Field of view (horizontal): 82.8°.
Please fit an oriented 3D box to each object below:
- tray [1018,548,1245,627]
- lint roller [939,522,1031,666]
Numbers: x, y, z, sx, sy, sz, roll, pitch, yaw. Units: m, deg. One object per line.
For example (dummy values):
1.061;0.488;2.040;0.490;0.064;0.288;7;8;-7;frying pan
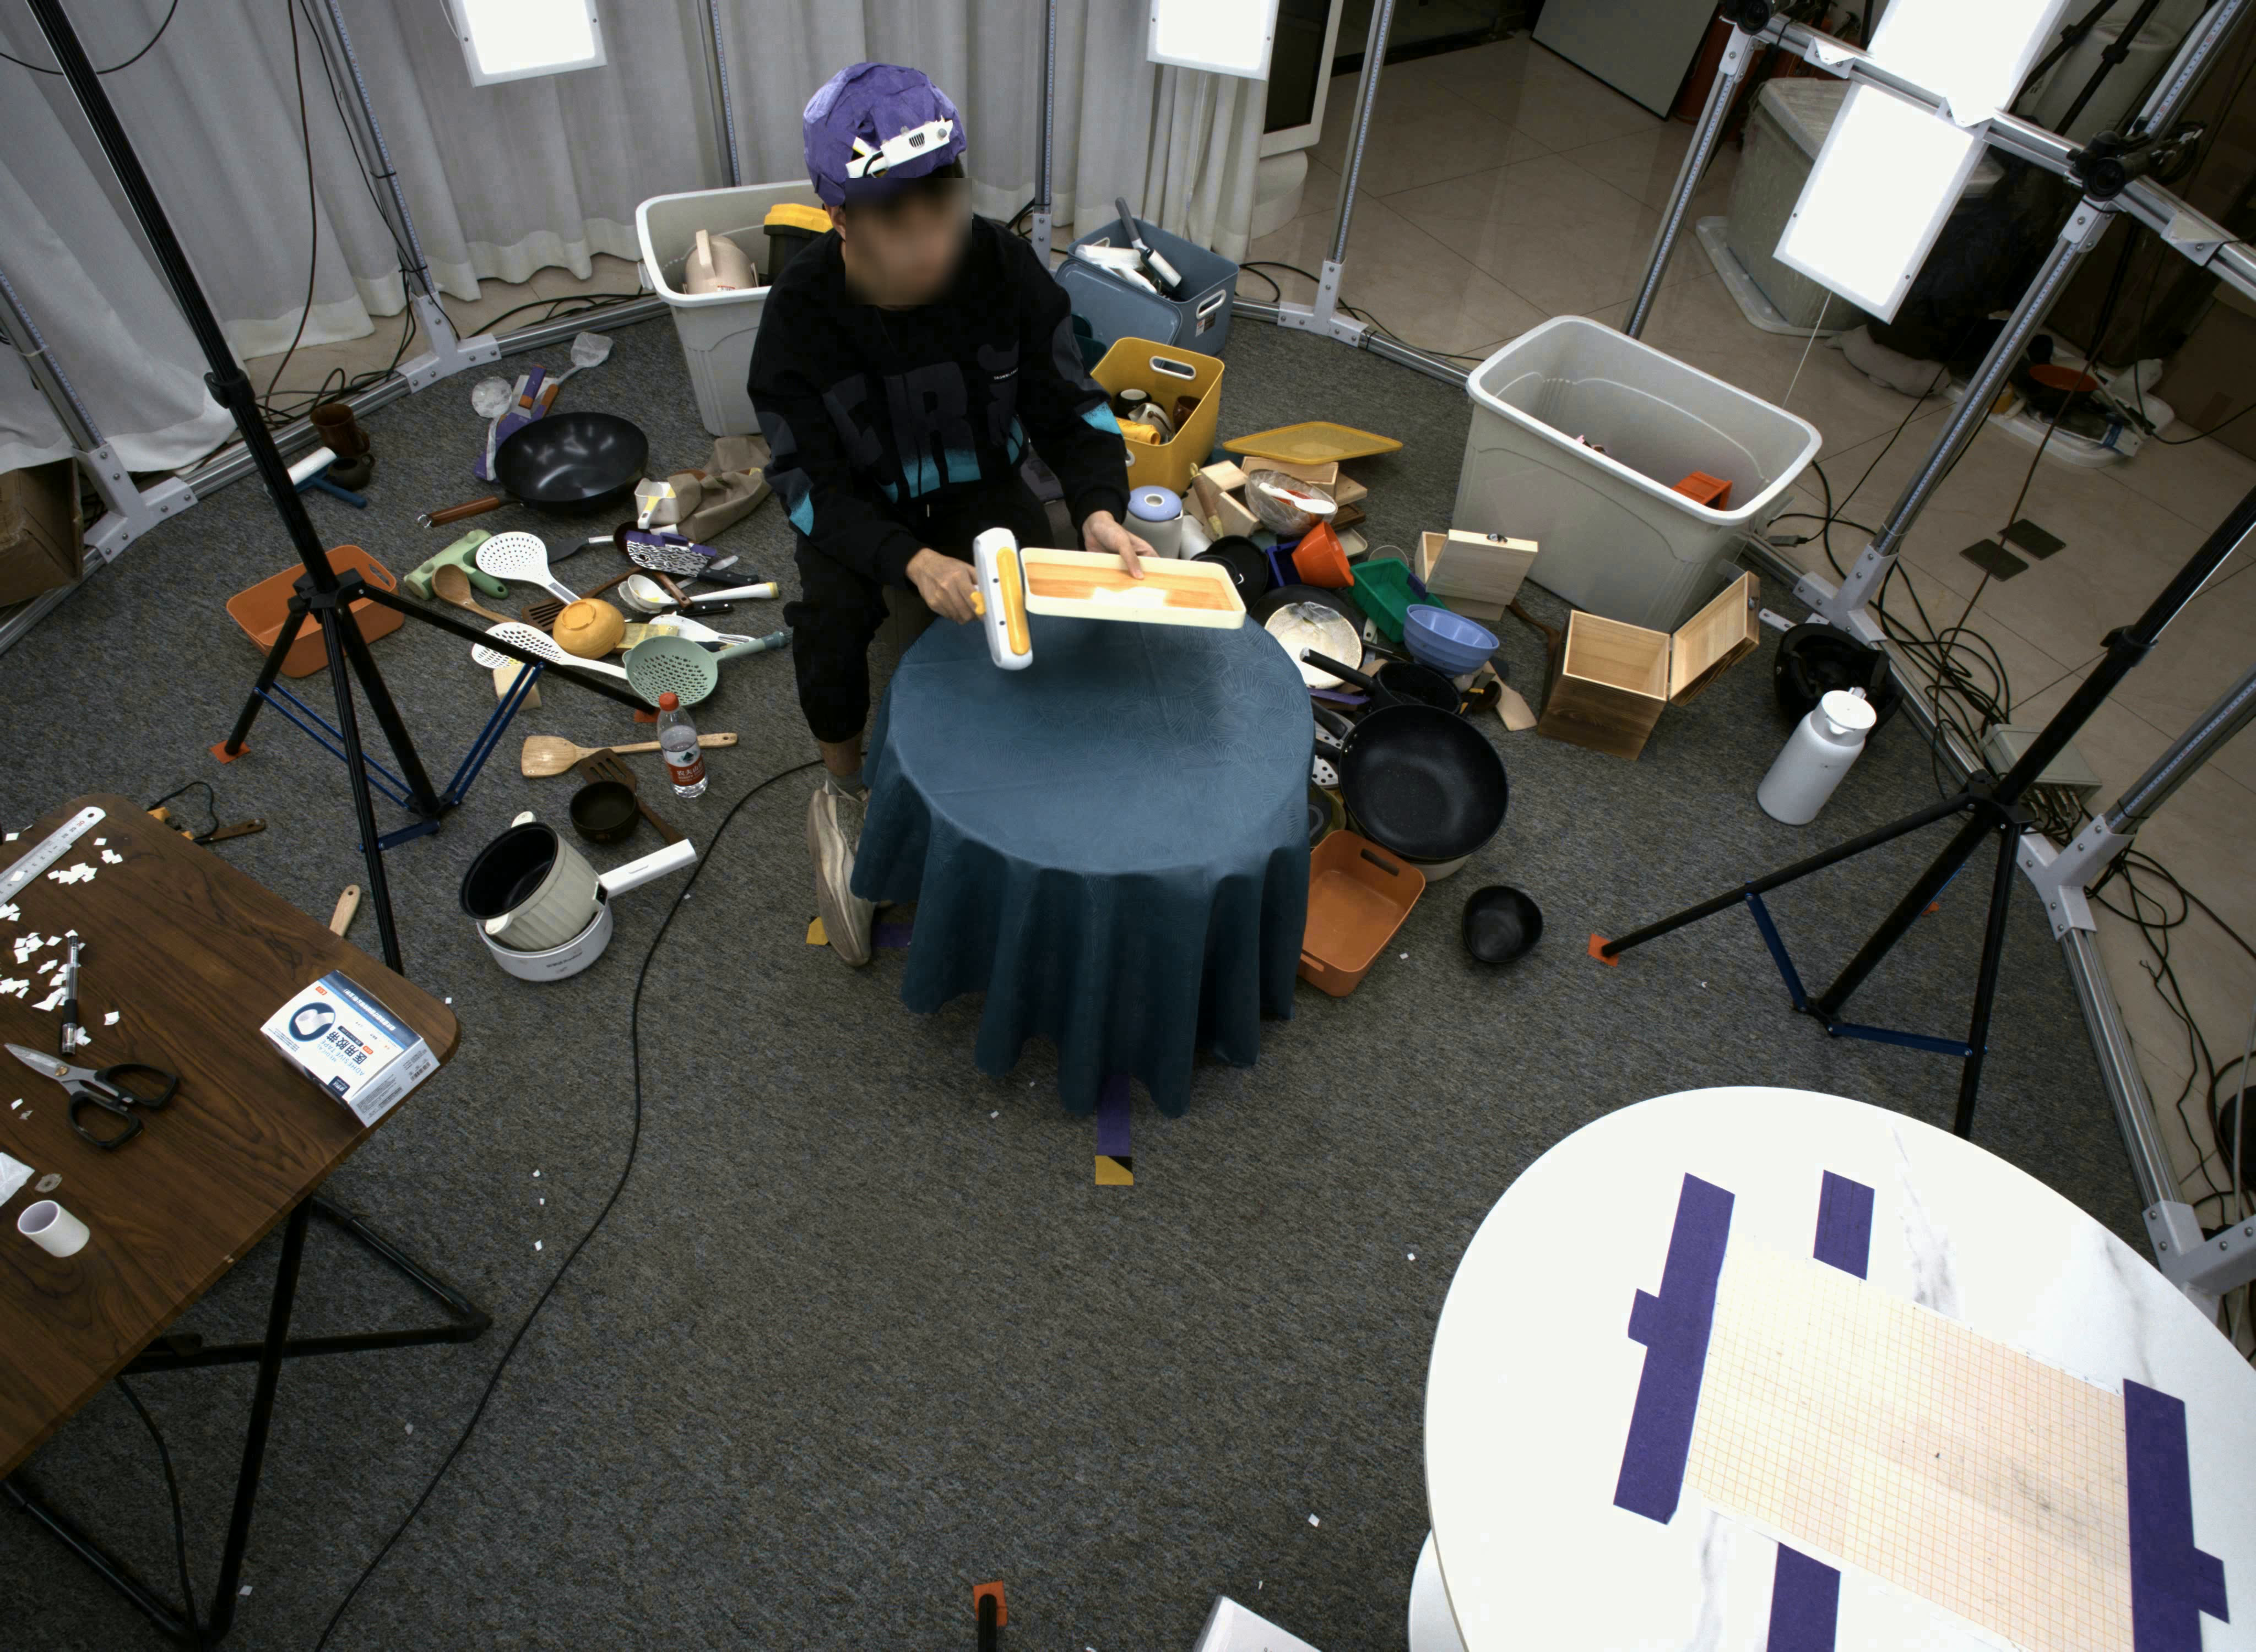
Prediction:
0.001;-0.332;1.788;0.299;0.027;0.196;3;30;-9;tray
-0.205;-0.318;1.787;0.074;0.190;0.194;-20;16;-22;lint roller
